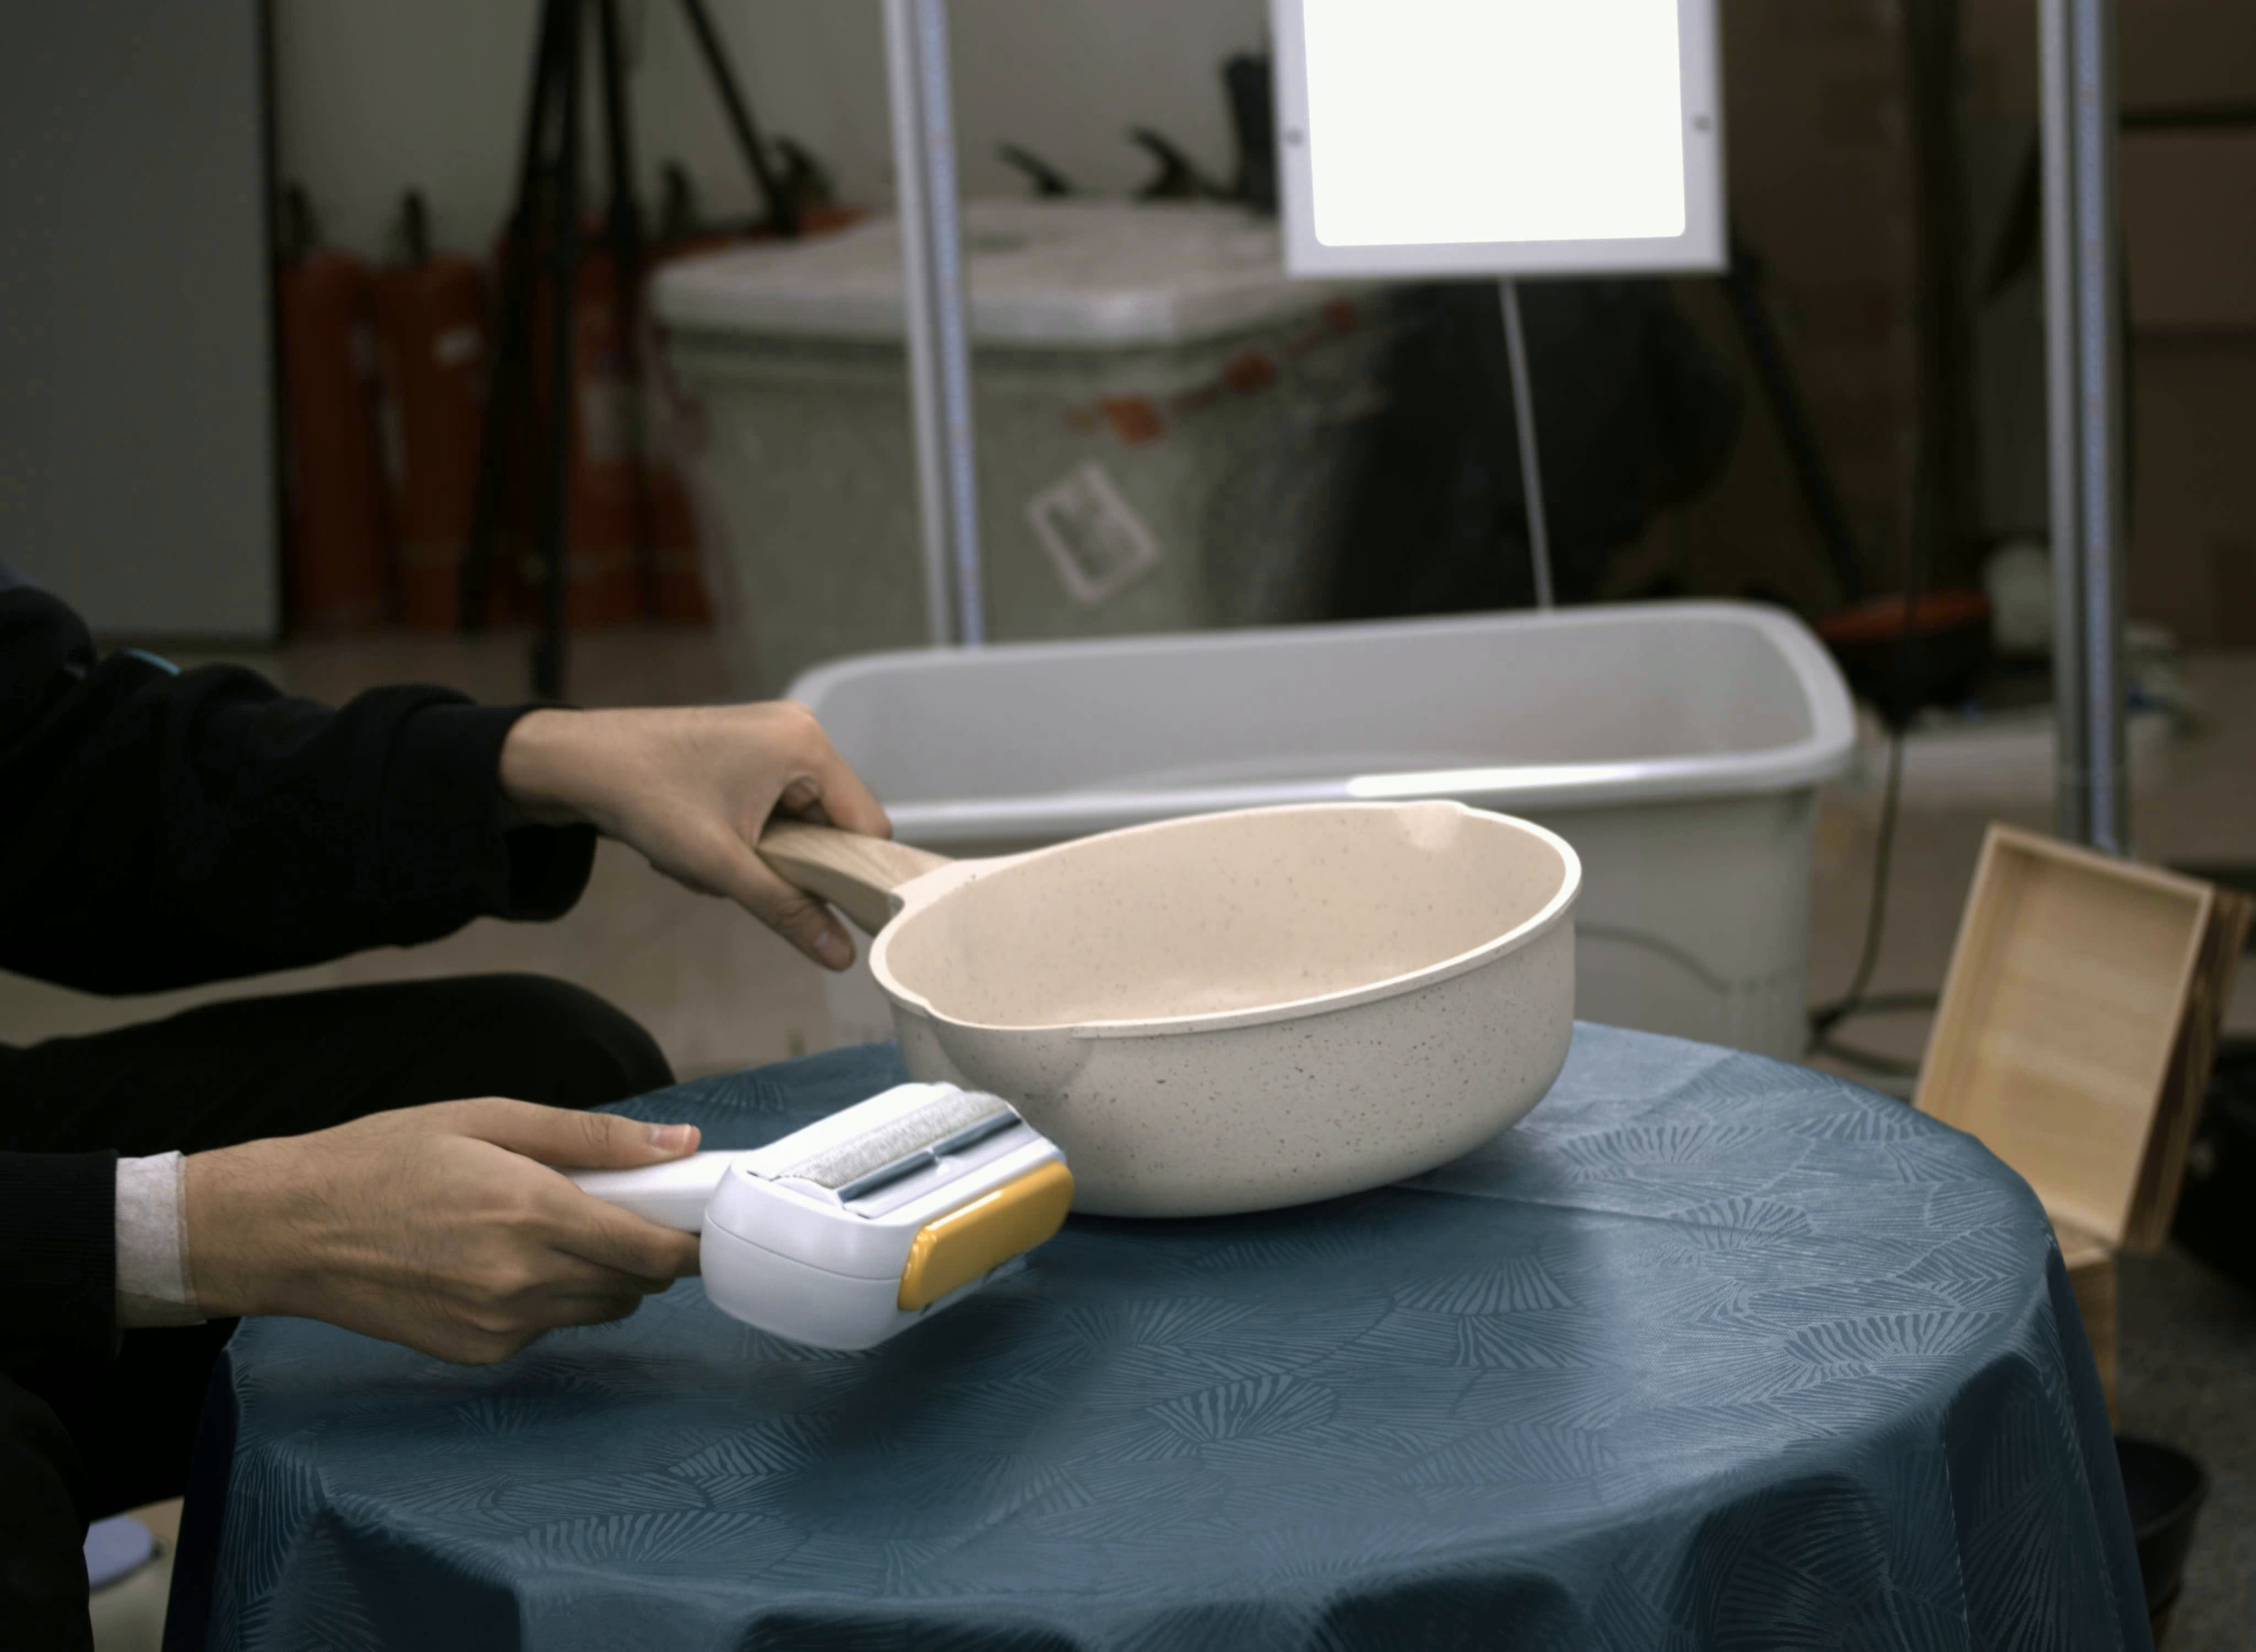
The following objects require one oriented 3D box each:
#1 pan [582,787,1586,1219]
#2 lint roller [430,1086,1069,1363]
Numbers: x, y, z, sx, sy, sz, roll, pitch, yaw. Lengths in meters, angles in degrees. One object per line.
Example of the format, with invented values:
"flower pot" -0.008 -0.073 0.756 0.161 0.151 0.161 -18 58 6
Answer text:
"pan" -0.030 0.052 1.989 0.444 0.102 0.257 5 22 42
"lint roller" -0.132 0.118 1.742 0.195 0.074 0.189 10 14 22
